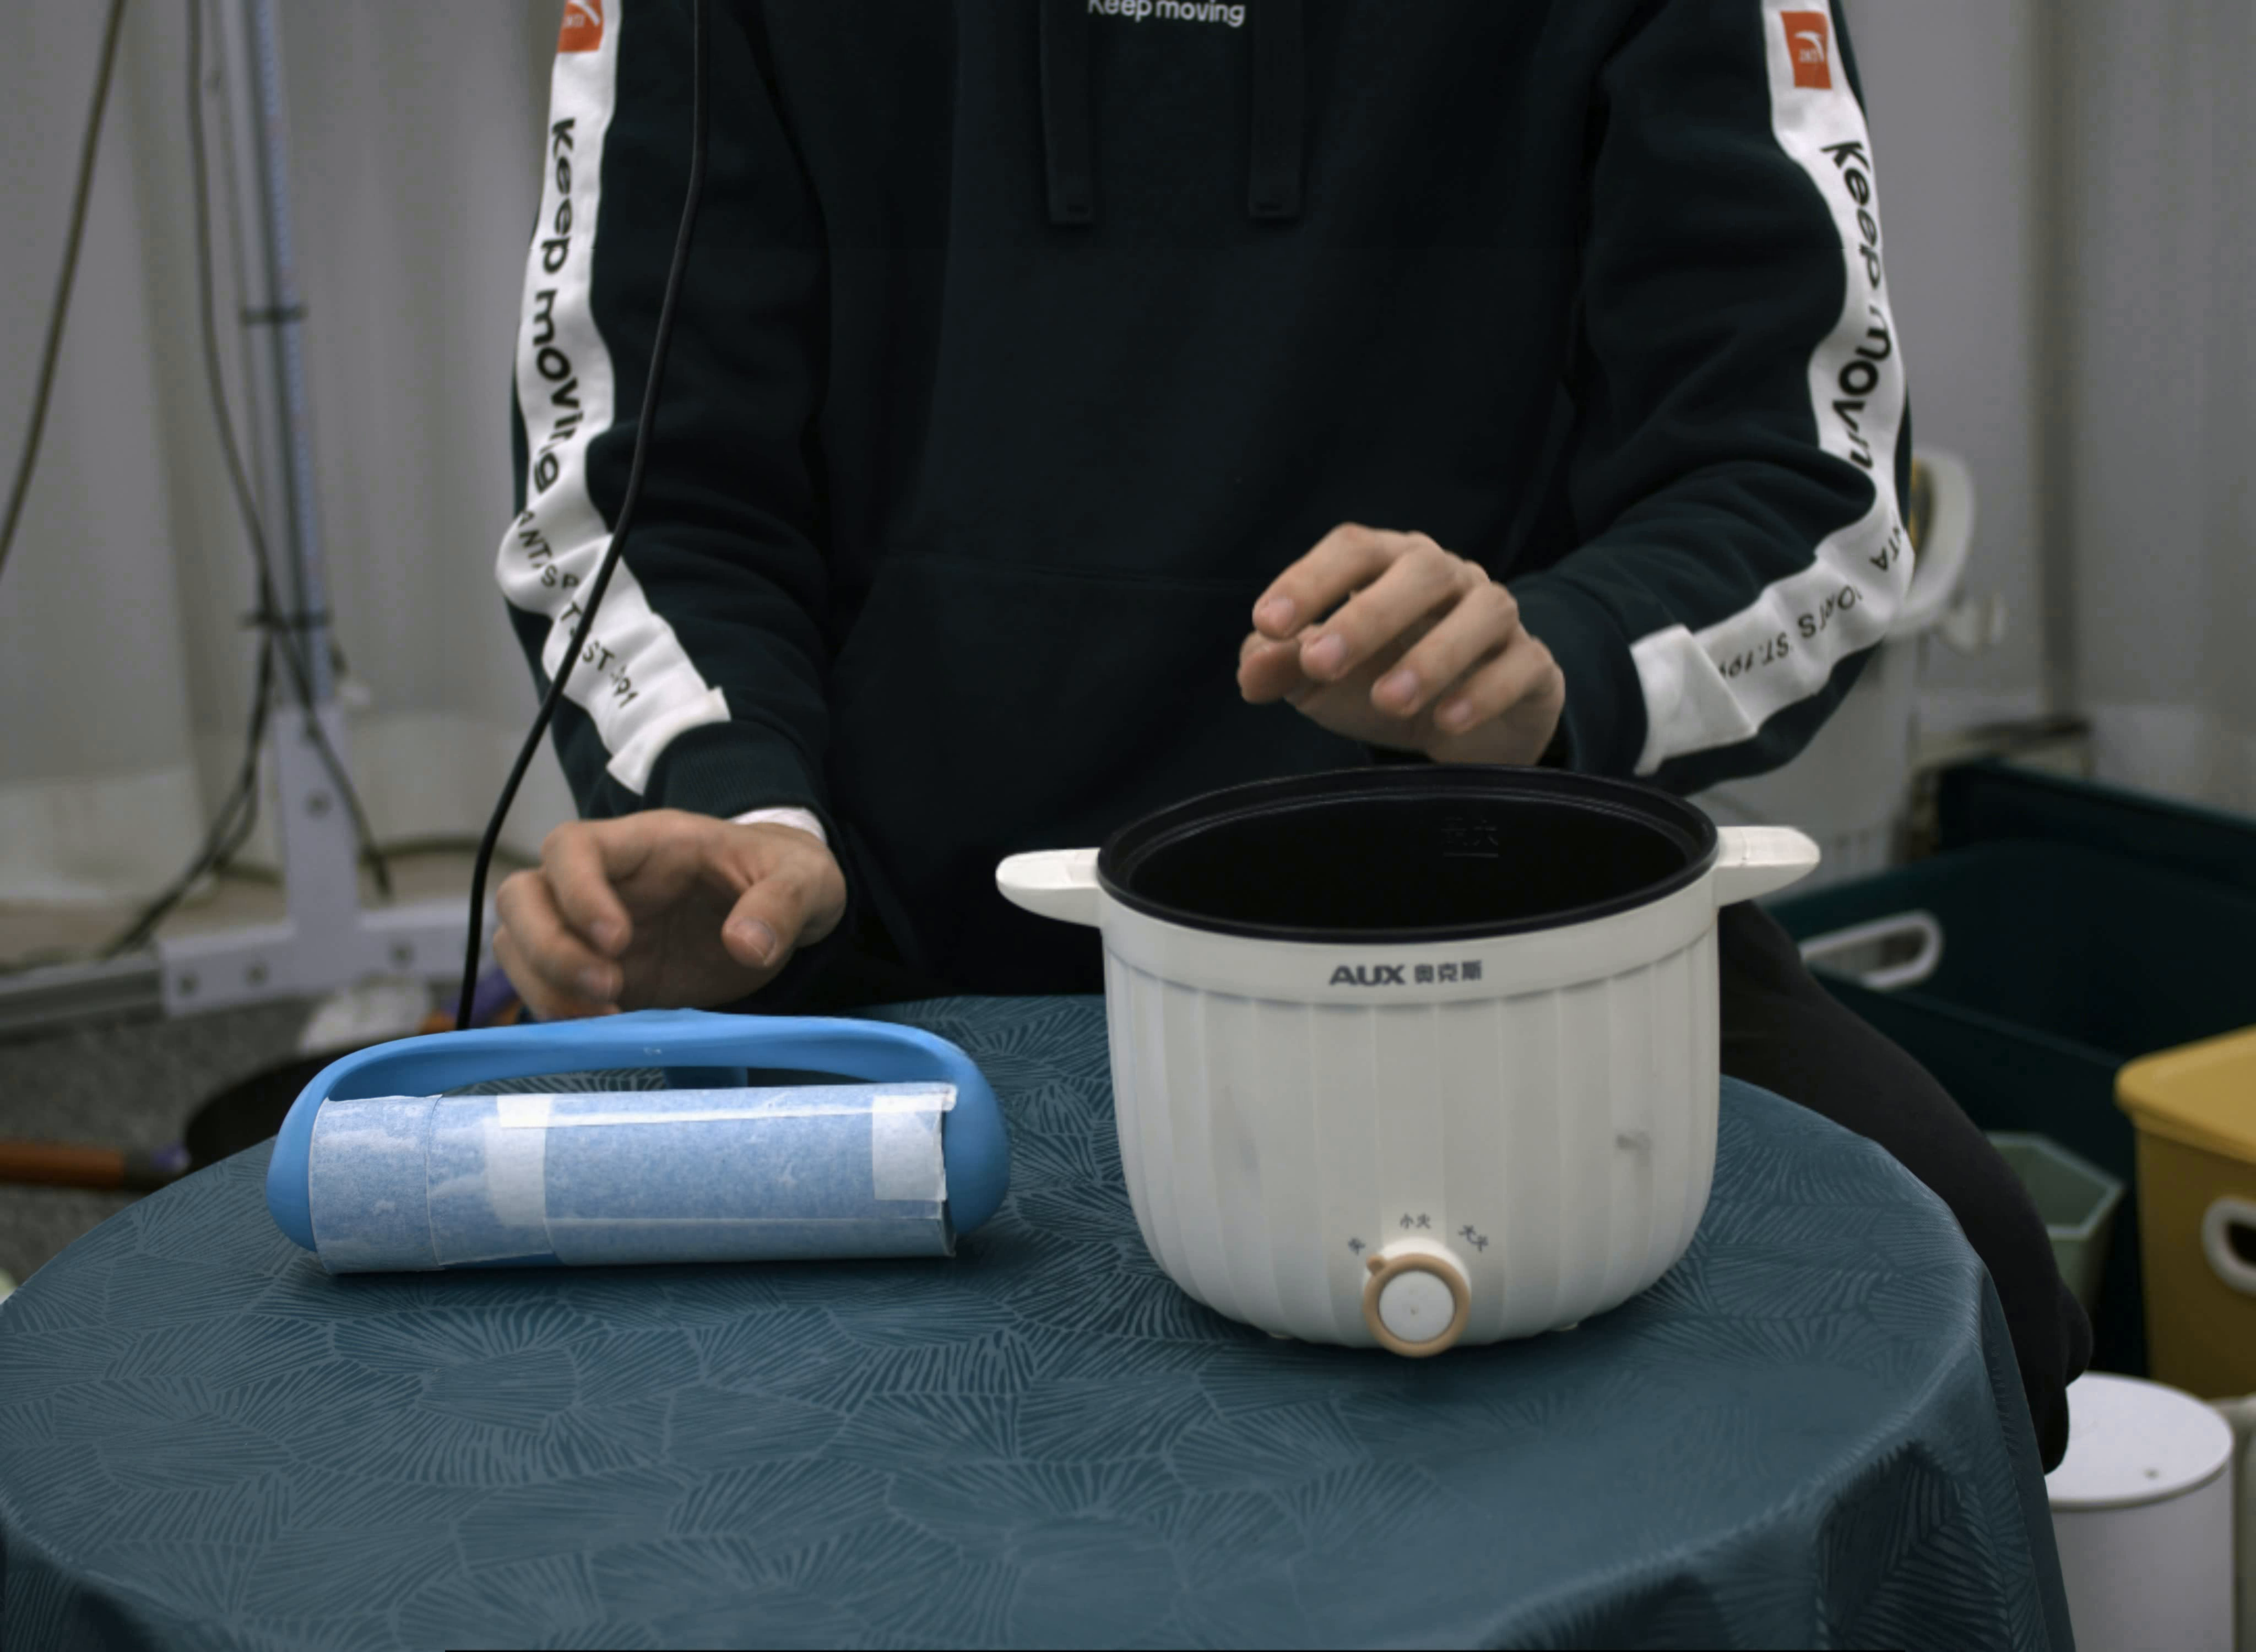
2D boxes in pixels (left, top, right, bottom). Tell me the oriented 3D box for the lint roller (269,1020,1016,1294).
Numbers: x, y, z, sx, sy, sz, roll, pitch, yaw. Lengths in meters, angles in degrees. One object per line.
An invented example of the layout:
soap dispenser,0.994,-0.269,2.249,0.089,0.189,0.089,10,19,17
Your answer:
lint roller,-0.148,0.092,1.721,0.228,0.067,0.181,-5,17,2

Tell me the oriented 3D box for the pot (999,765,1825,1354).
pot,0.086,0.070,1.596,0.240,0.142,0.191,-3,11,4
